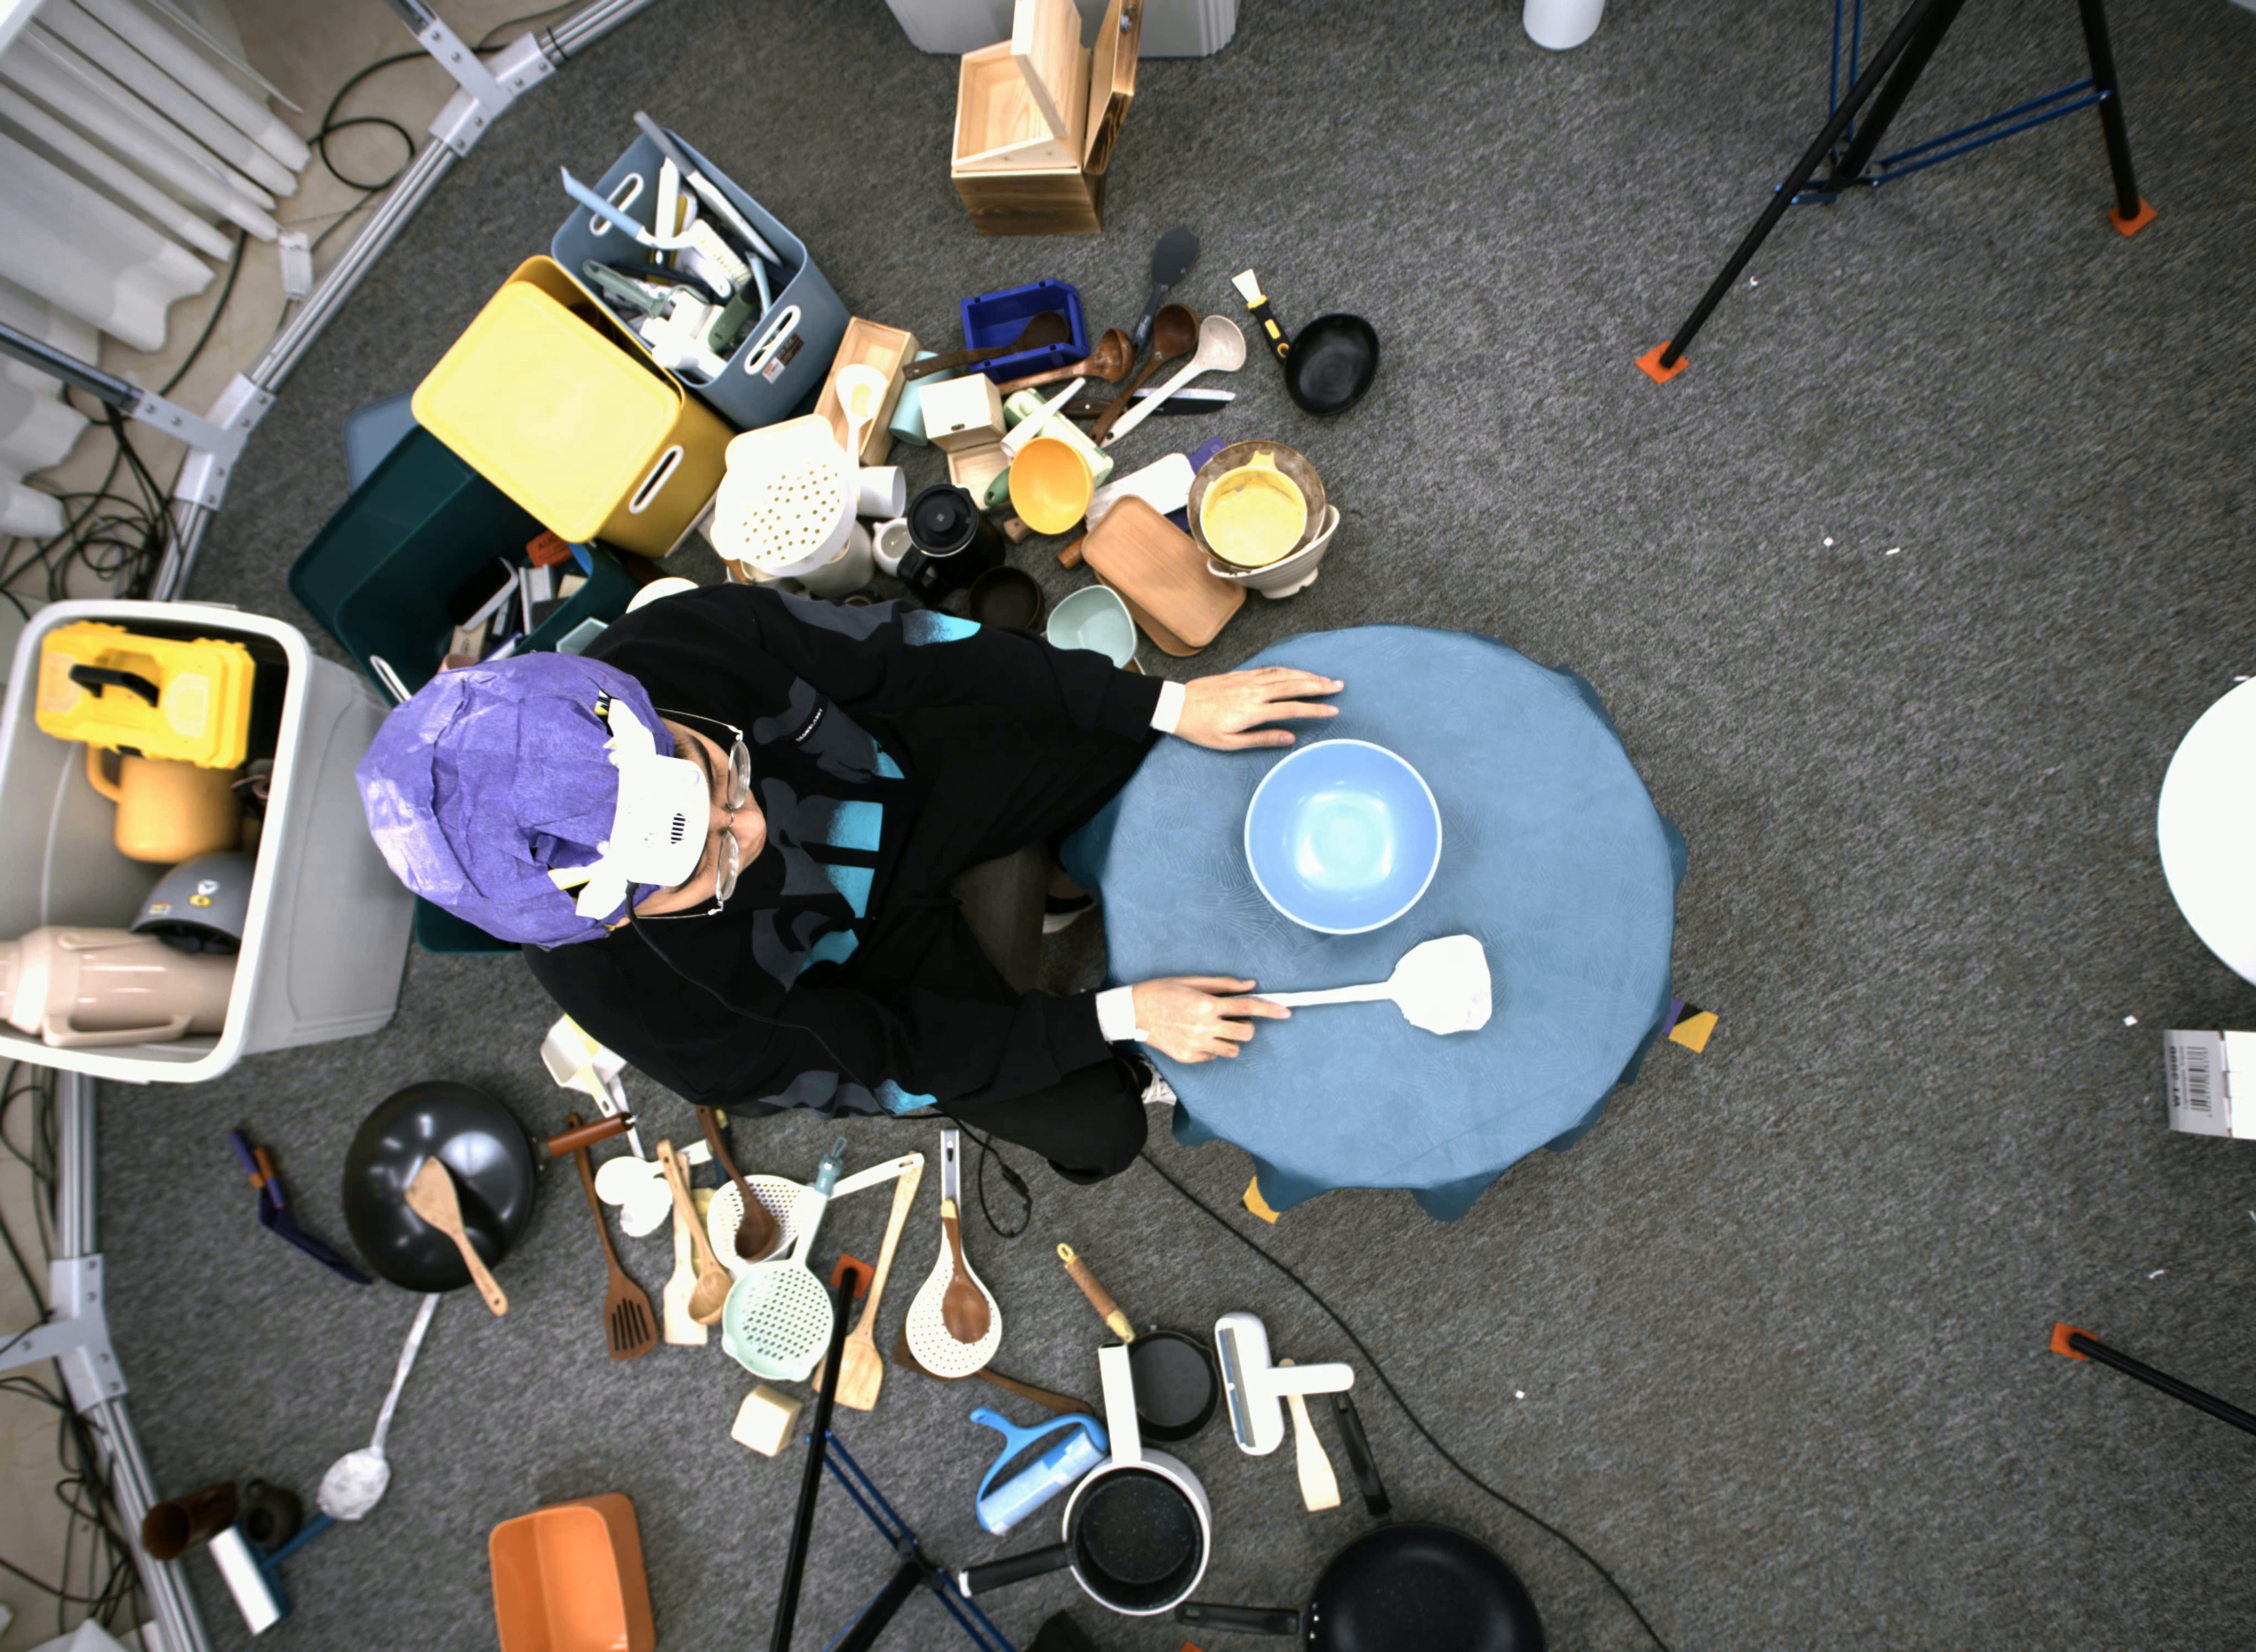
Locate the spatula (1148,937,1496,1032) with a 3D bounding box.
[{"bbox_3d":[0.197,0.177,1.451,0.366,0.045,0.098,-6,86,10],"label":"spatula"}]

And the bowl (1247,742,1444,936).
[{"bbox_3d":[0.225,0.016,1.429,0.197,0.095,0.195,-1,87,10],"label":"bowl"}]
